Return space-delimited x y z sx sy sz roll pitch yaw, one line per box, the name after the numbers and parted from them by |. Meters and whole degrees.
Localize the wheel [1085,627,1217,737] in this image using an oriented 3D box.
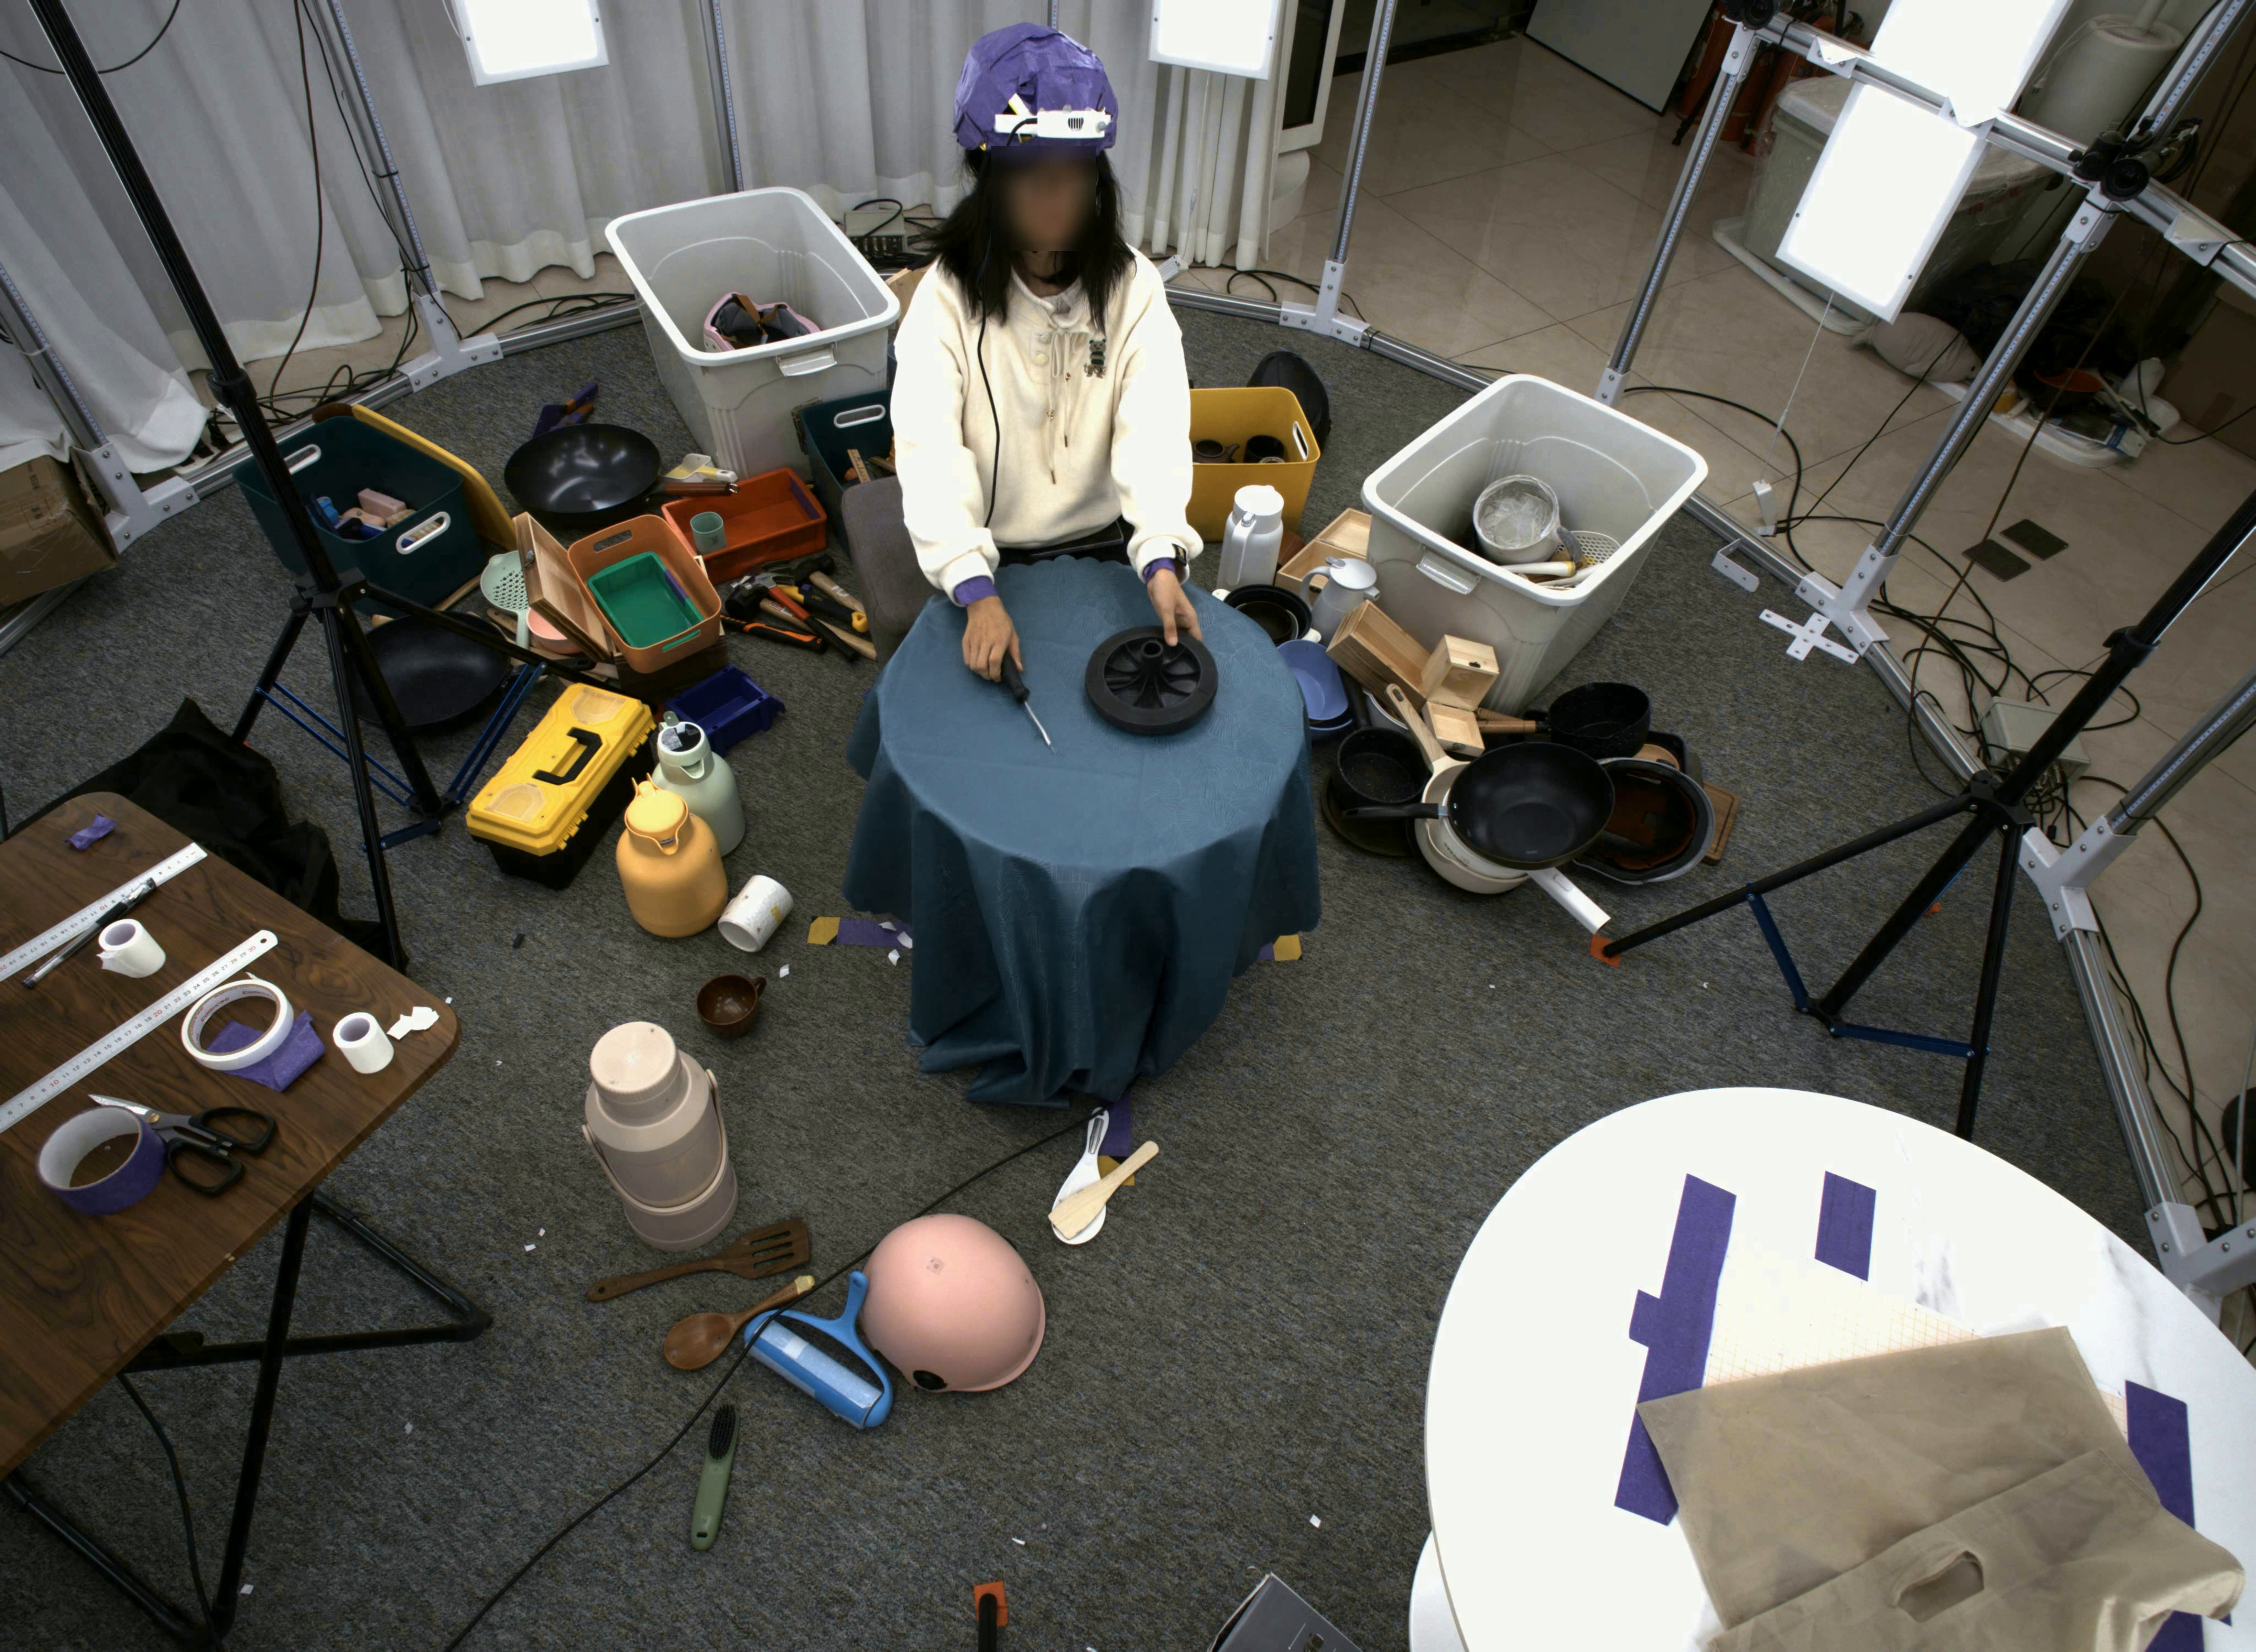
0.032 -0.218 1.809 0.190 0.077 0.191 -24 58 -13 | wheel

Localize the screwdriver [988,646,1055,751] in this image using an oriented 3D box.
-0.150 -0.178 1.795 0.031 0.031 0.202 -17 57 -18 | screwdriver
